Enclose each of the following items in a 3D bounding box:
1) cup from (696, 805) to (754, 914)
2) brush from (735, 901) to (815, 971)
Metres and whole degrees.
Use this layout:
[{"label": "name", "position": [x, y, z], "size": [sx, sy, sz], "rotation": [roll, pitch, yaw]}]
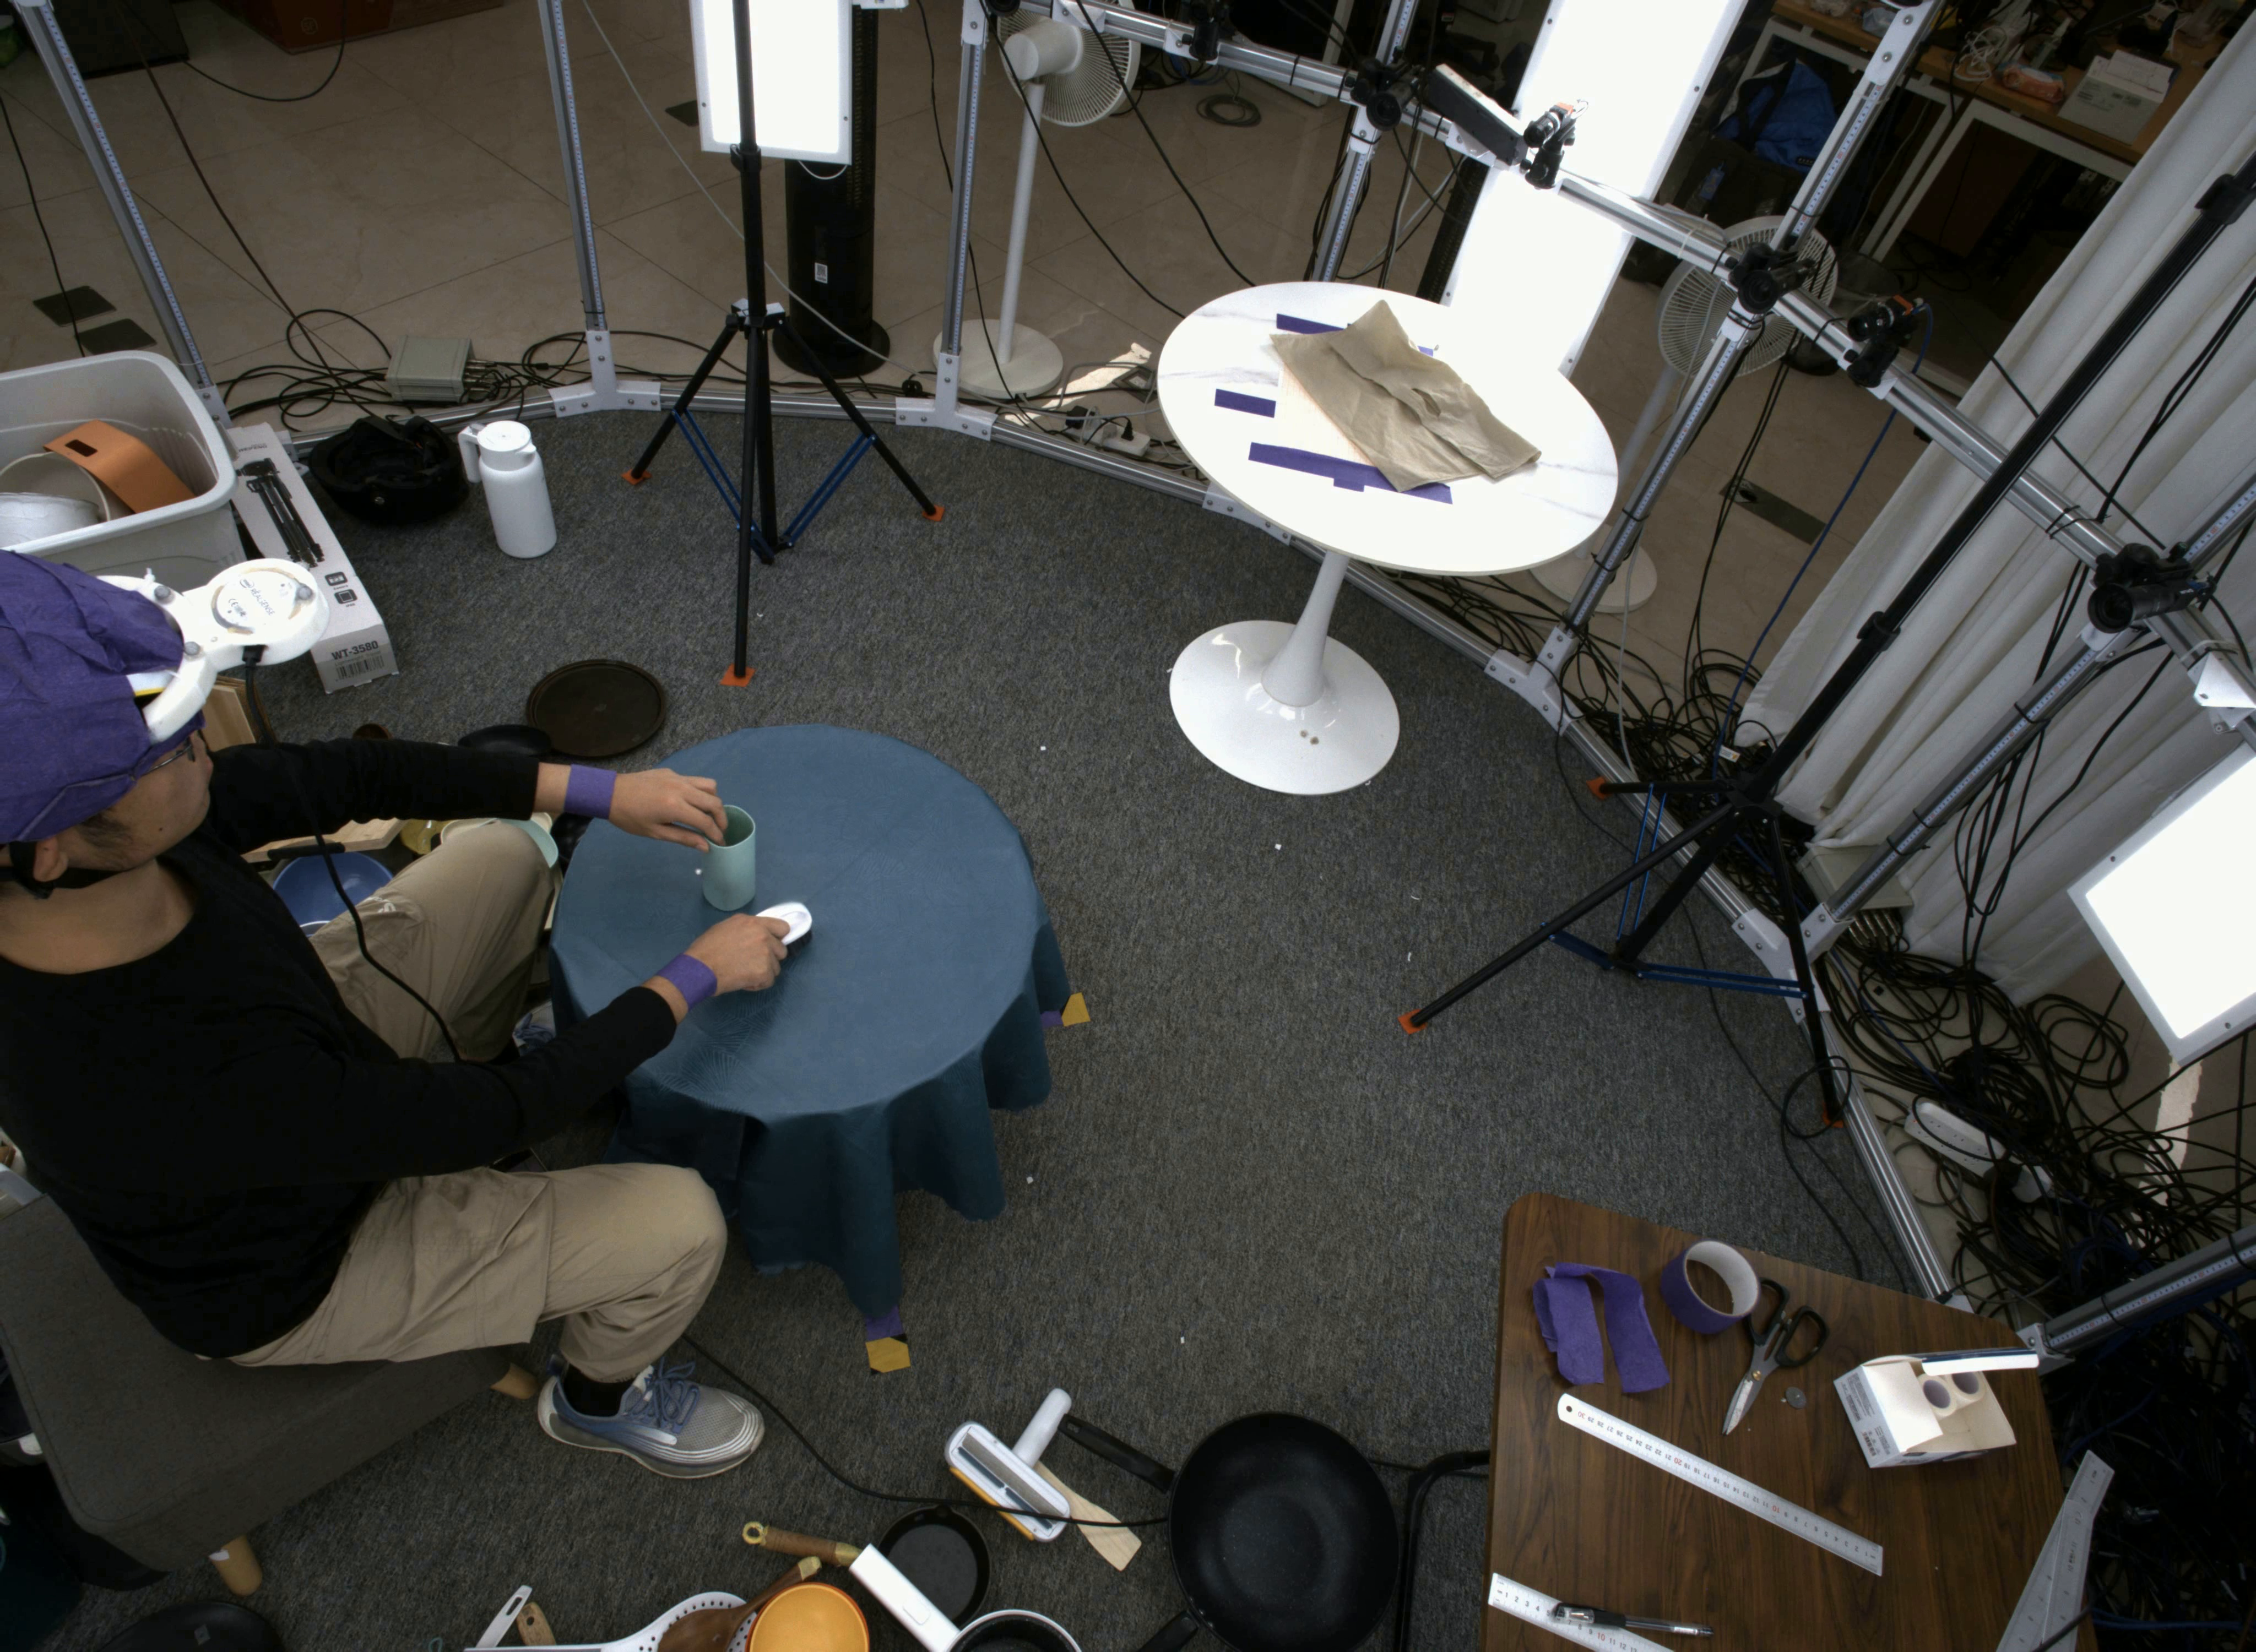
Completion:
[{"label": "cup", "position": [-0.496, 0.042, 1.598], "size": [0.066, 0.135, 0.065], "rotation": [8, 49, -8]}, {"label": "brush", "position": [-0.433, 0.126, 1.584], "size": [0.099, 0.074, 0.049], "rotation": [-26, 60, -30]}]
